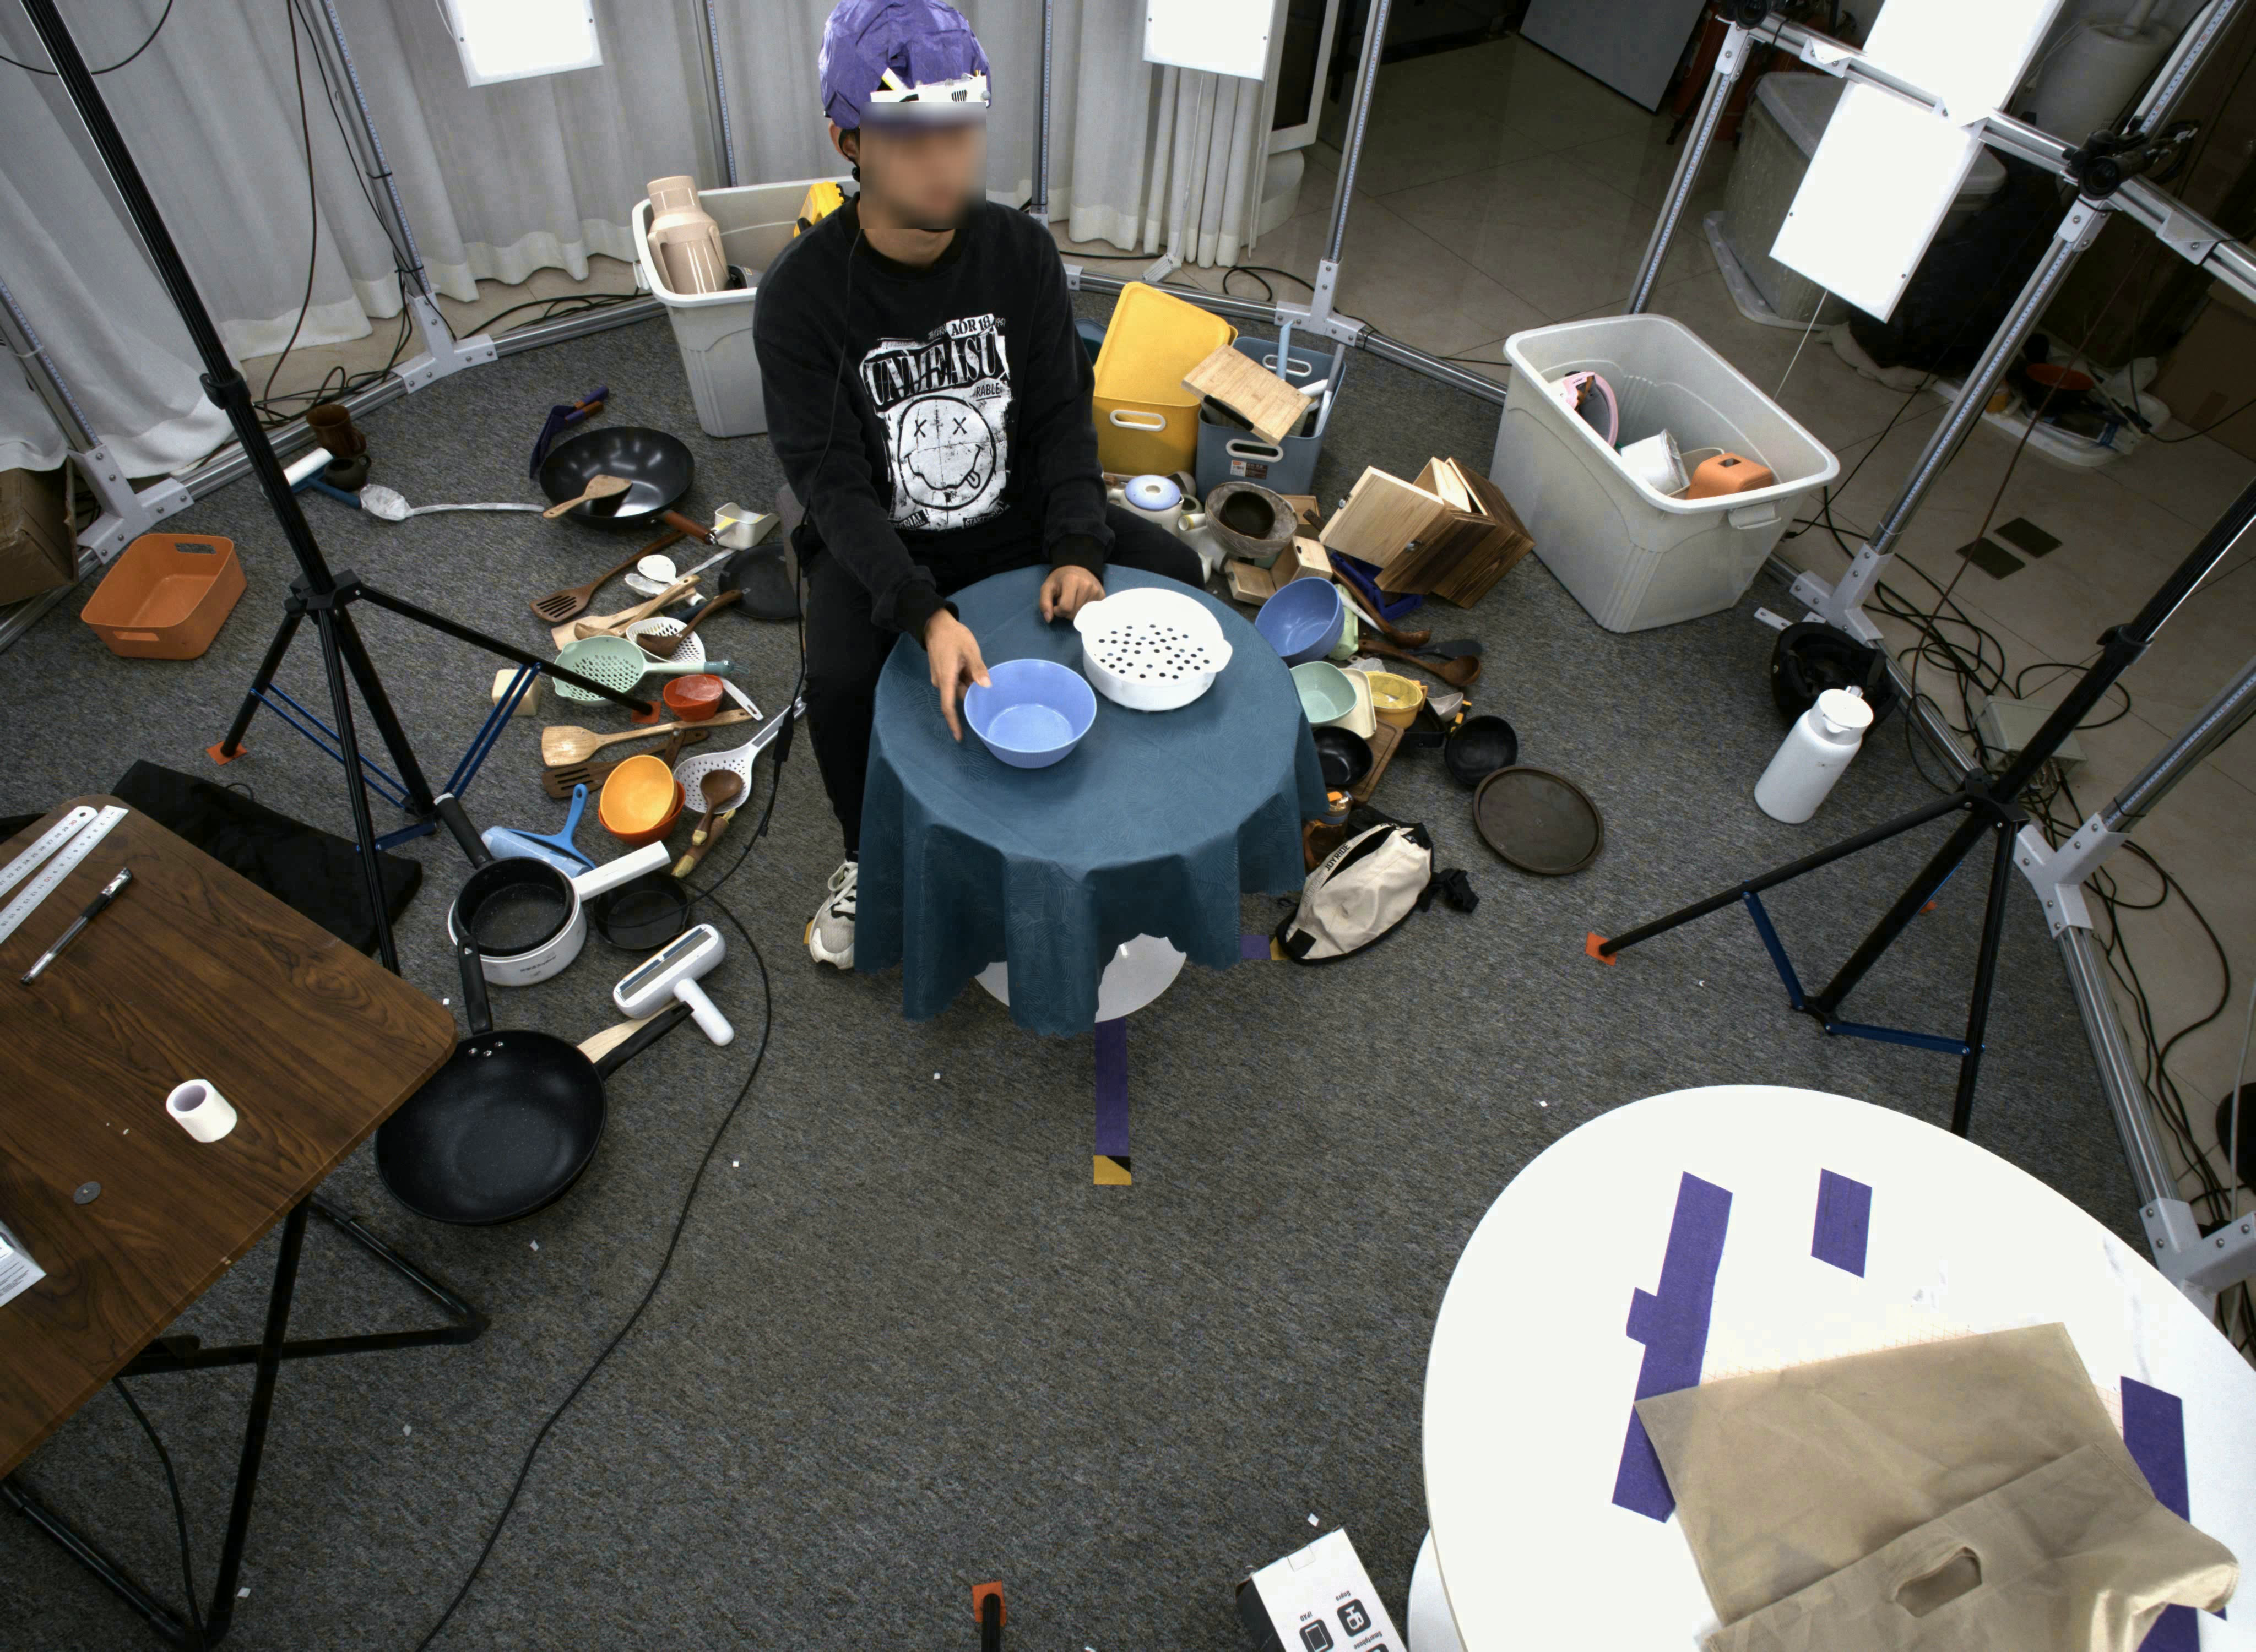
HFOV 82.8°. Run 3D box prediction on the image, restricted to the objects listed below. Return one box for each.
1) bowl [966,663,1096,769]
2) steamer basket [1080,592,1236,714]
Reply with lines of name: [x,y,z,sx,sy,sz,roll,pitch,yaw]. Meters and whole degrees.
bowl: [-0.132,-0.141,1.752,0.176,0.068,0.180,2,48,-3]
steamer basket: [0.040,-0.251,1.861,0.231,0.067,0.206,20,50,10]
